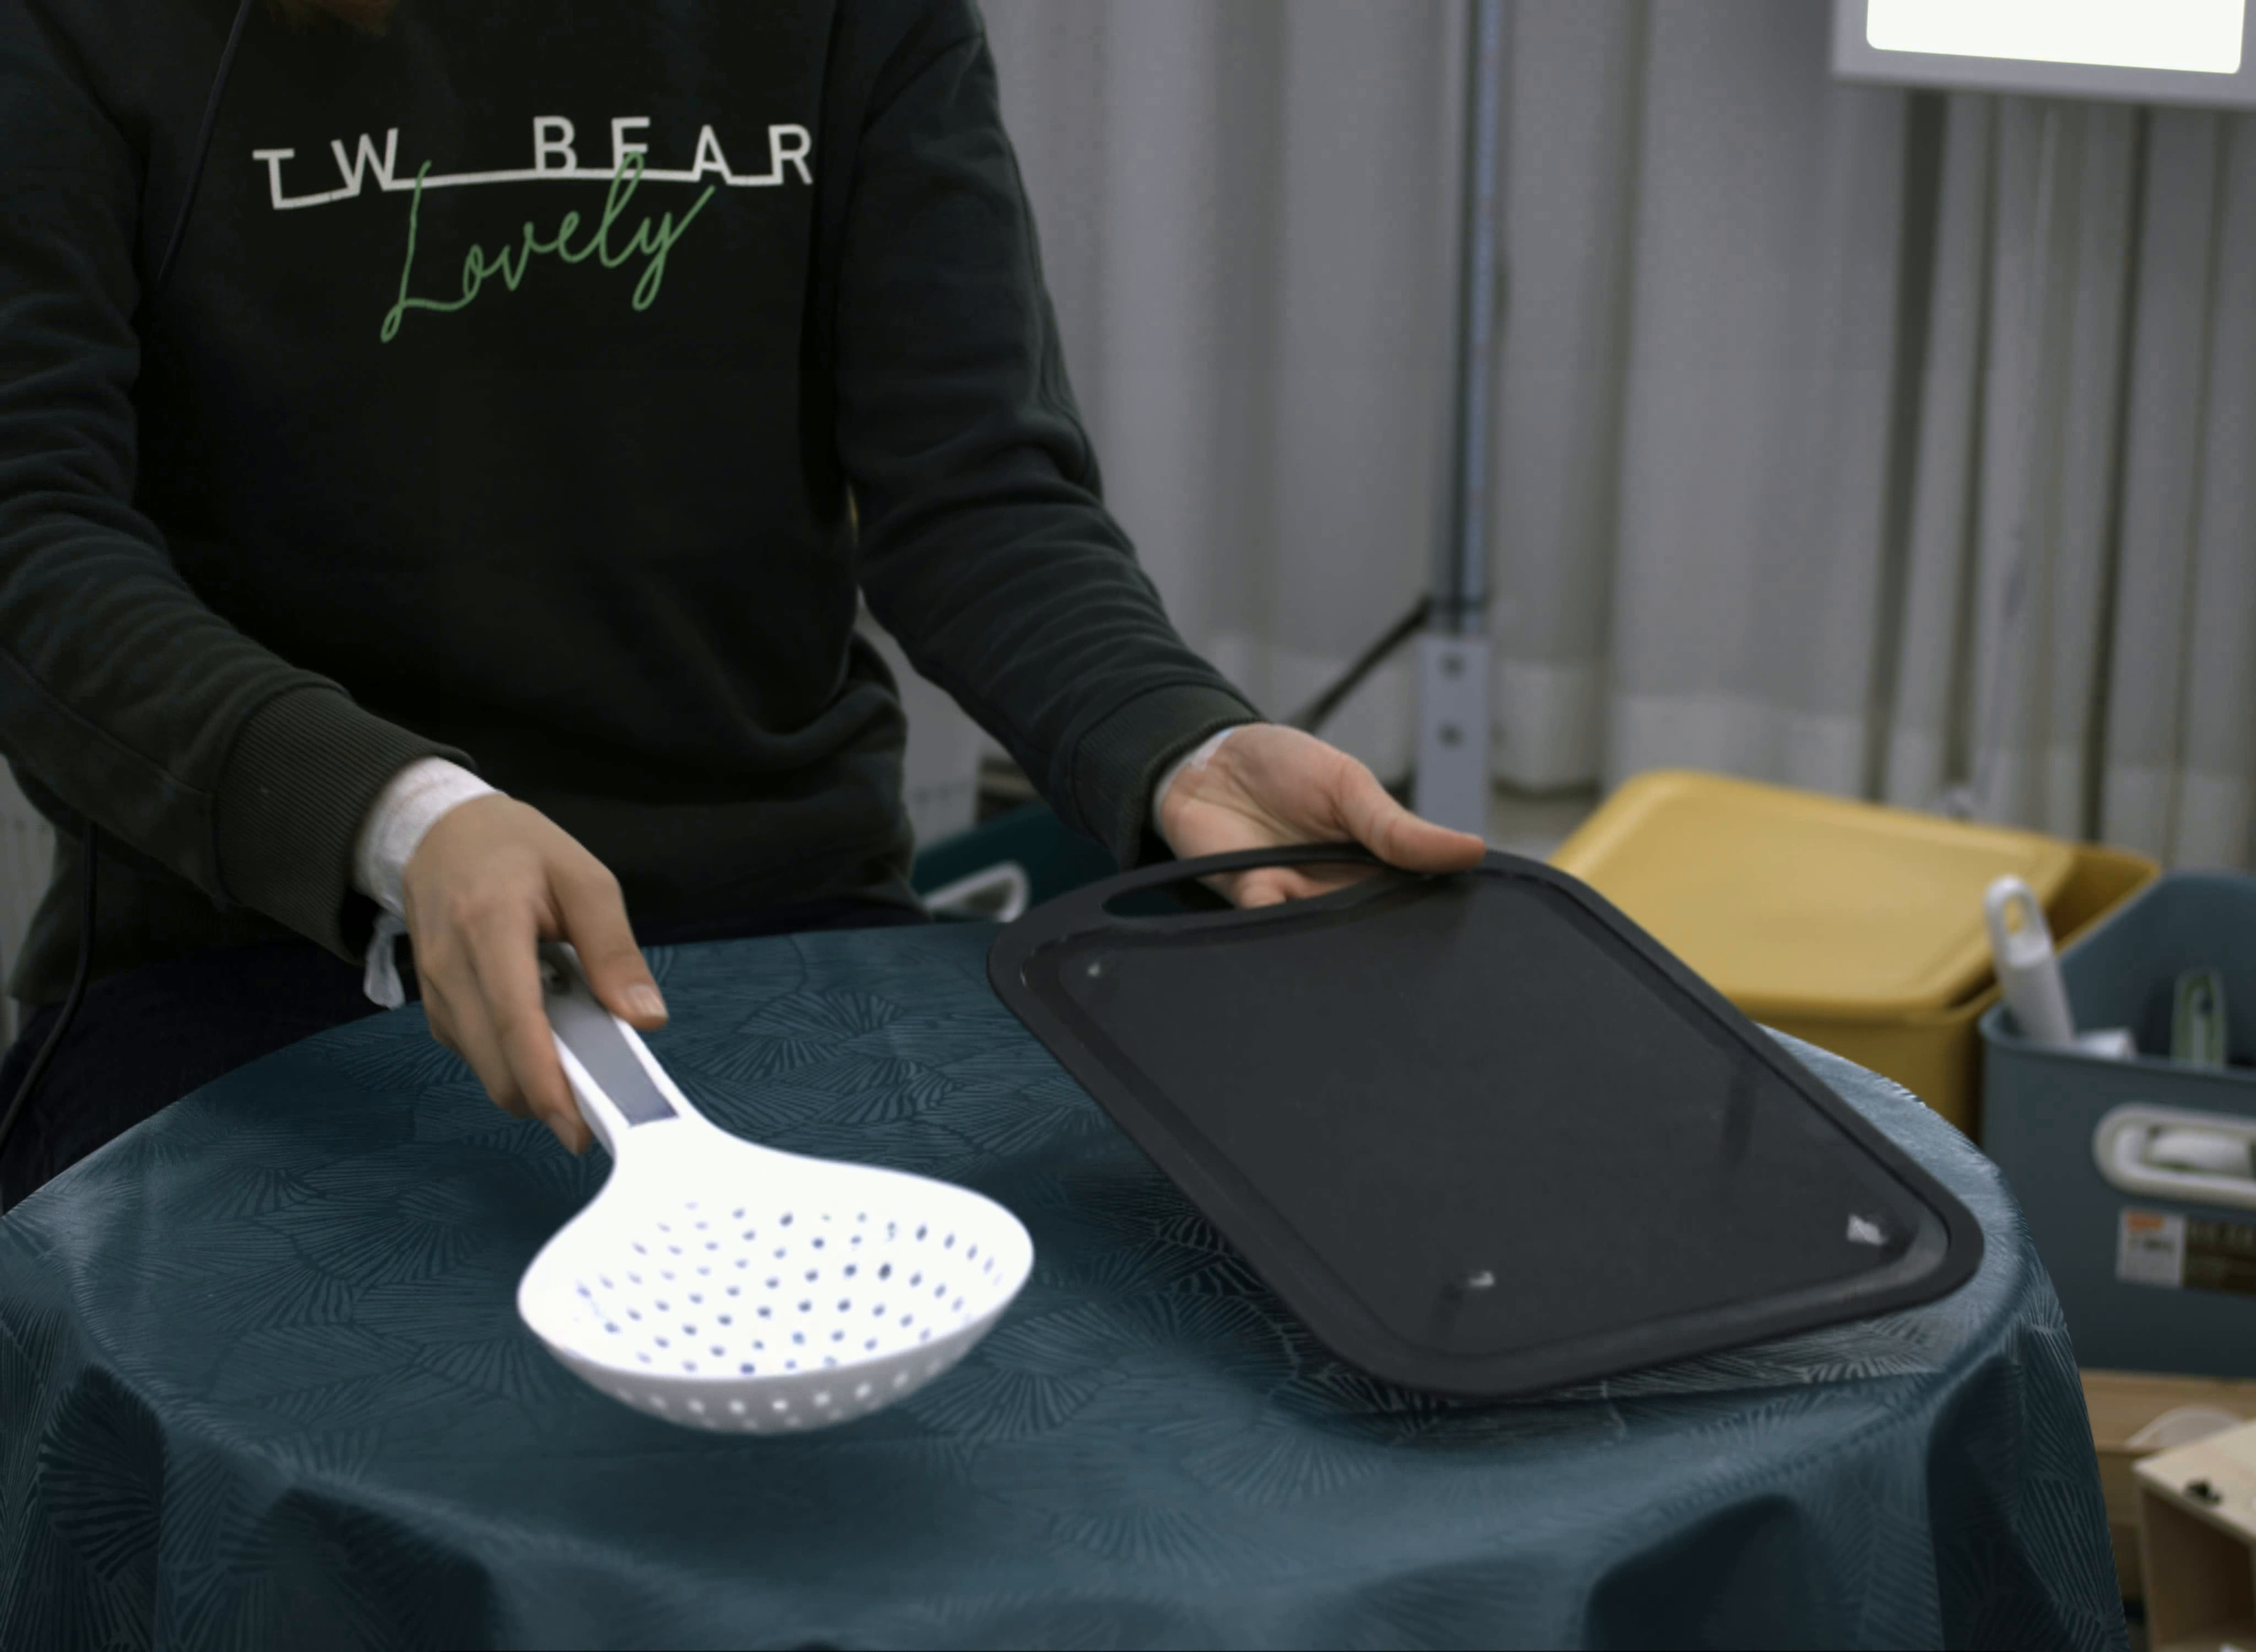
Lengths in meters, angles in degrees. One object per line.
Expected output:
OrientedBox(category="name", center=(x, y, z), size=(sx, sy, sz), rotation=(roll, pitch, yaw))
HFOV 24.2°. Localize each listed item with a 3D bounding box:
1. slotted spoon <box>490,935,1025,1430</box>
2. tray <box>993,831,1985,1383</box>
OrientedBox(category="slotted spoon", center=(-0.130, 0.091, 1.481), size=(0.136, 0.046, 0.345), rotation=(-10, 25, -18))
OrientedBox(category="tray", center=(0.097, 0.073, 1.575), size=(0.212, 0.010, 0.321), rotation=(-9, 29, -24))
